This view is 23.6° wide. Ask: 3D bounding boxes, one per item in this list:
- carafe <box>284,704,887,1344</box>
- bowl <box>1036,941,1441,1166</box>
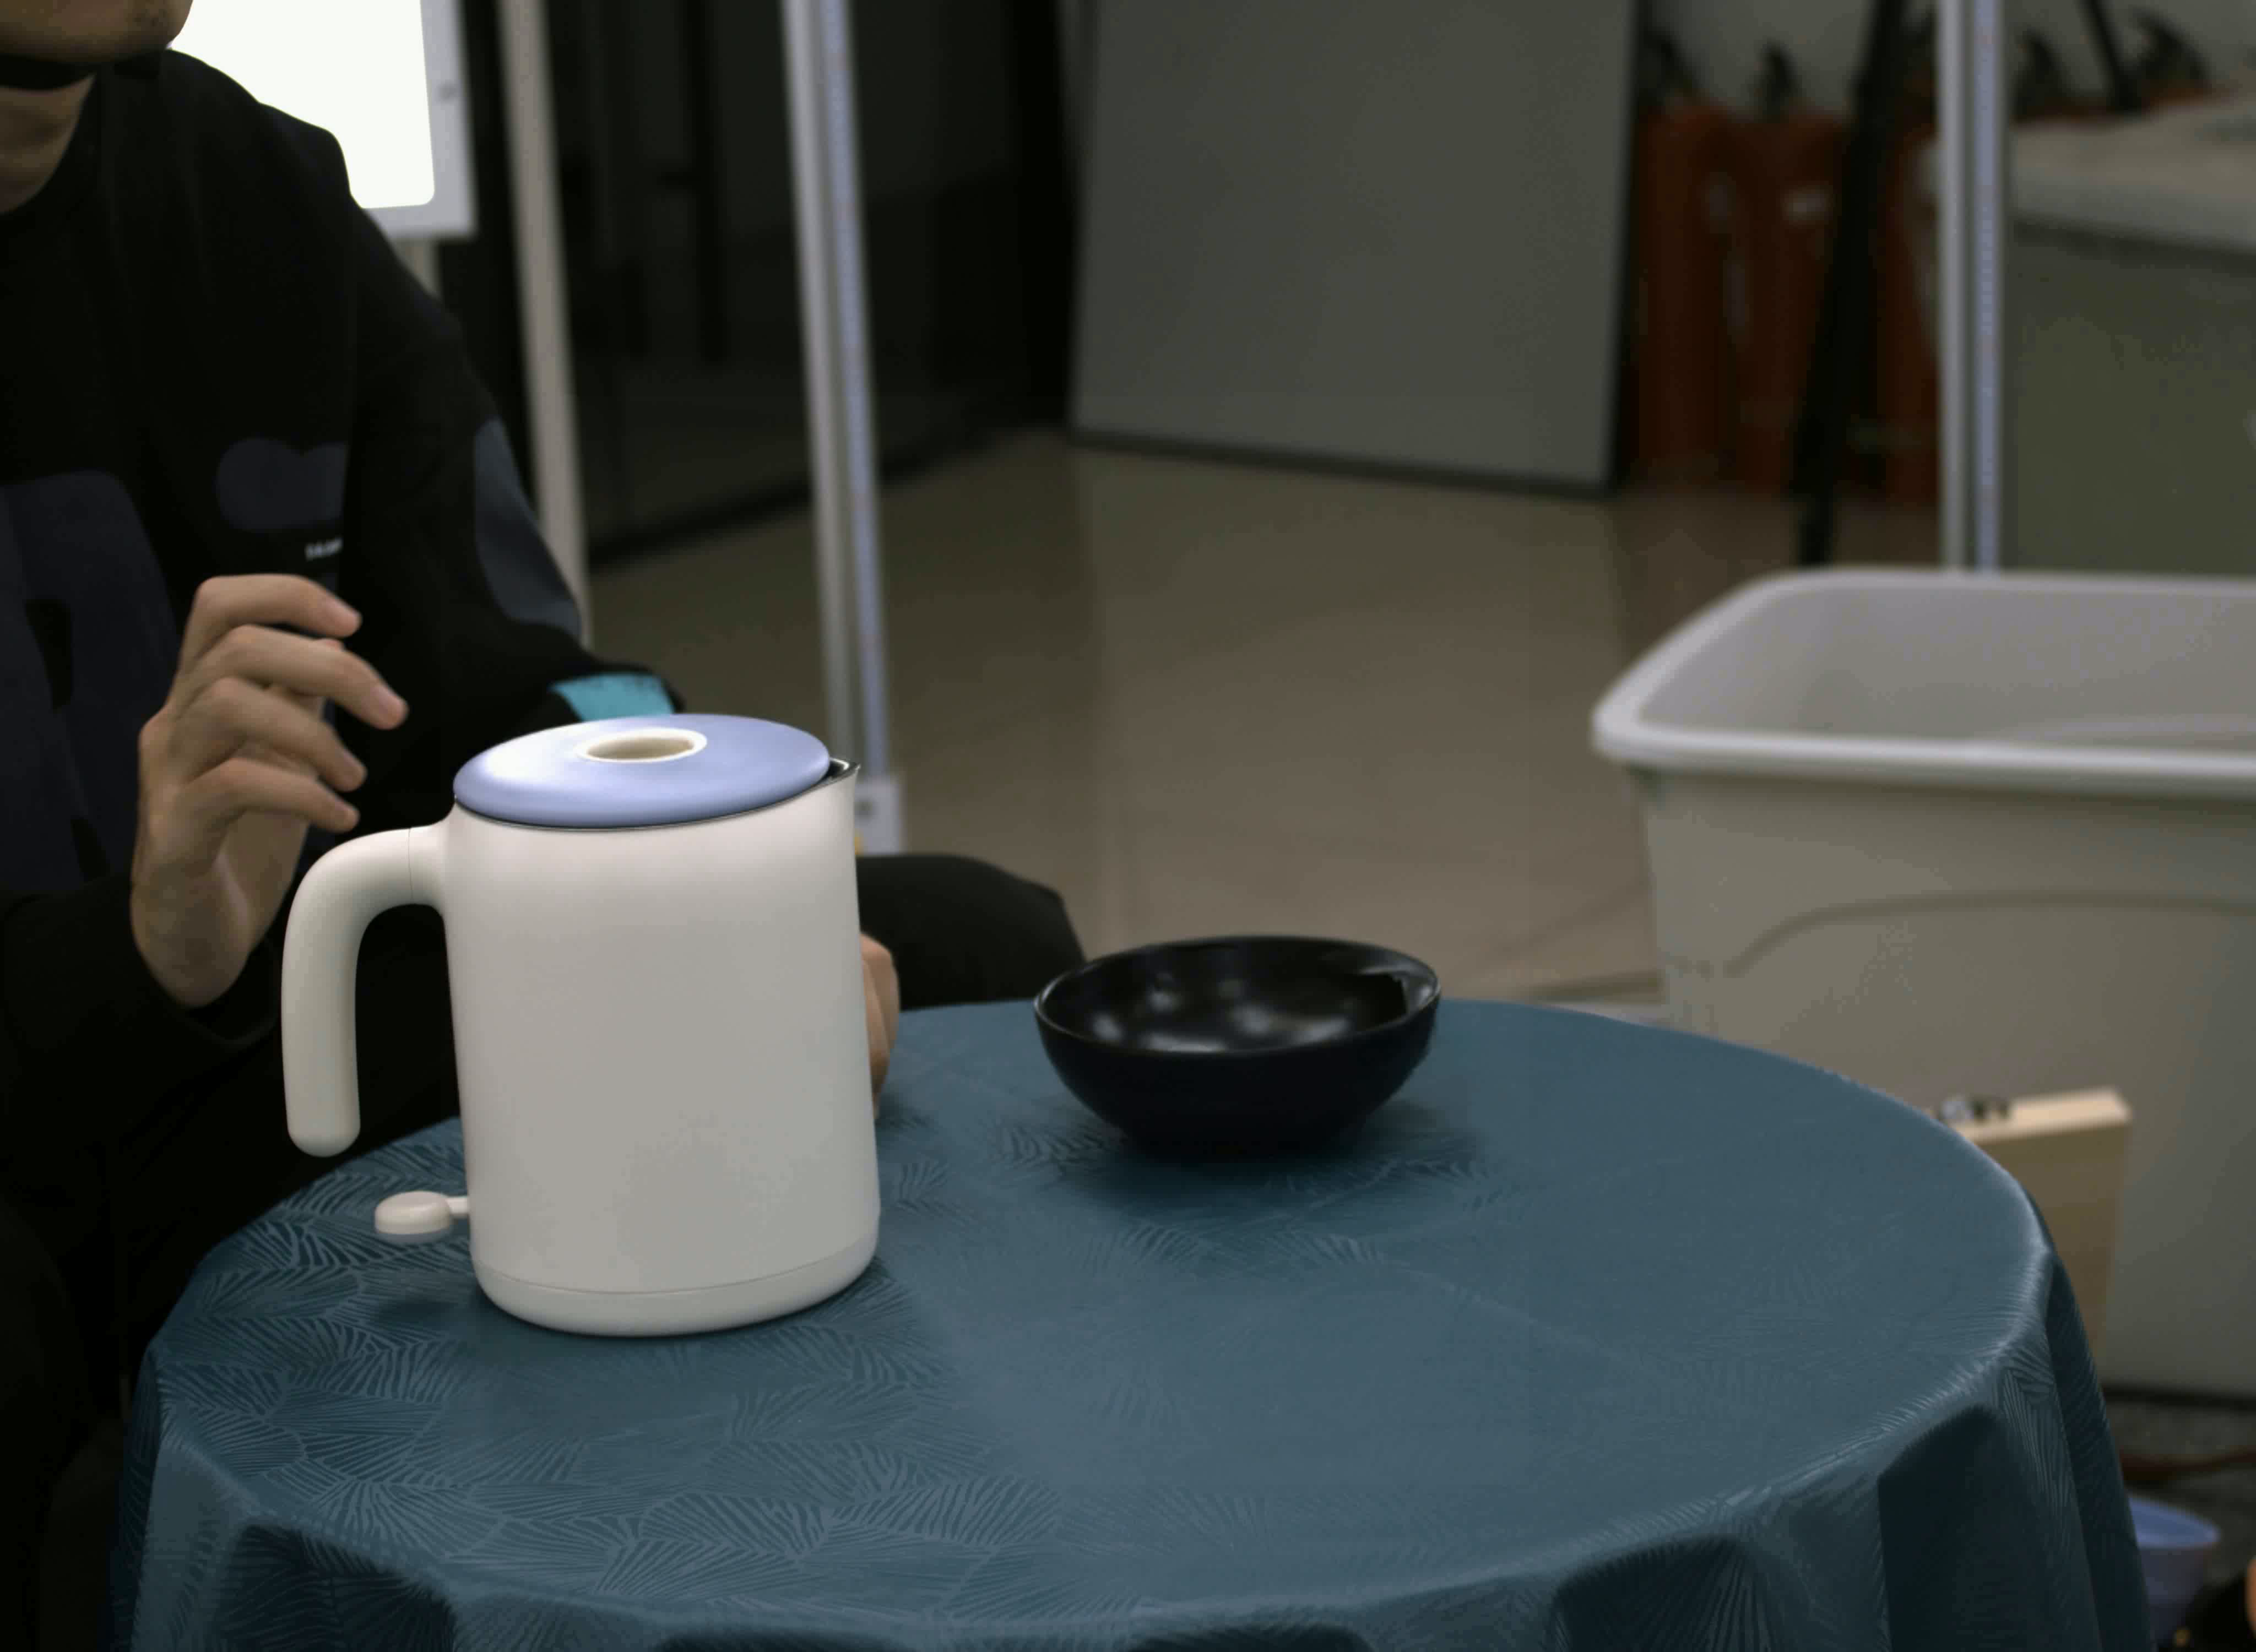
[{"bbox_3d":[-0.170,0.064,1.696,0.188,0.184,0.132,-7,13,-3],"label":"carafe"},{"bbox_3d":[0.039,0.081,1.823,0.138,0.050,0.140,-6,13,0],"label":"bowl"}]
